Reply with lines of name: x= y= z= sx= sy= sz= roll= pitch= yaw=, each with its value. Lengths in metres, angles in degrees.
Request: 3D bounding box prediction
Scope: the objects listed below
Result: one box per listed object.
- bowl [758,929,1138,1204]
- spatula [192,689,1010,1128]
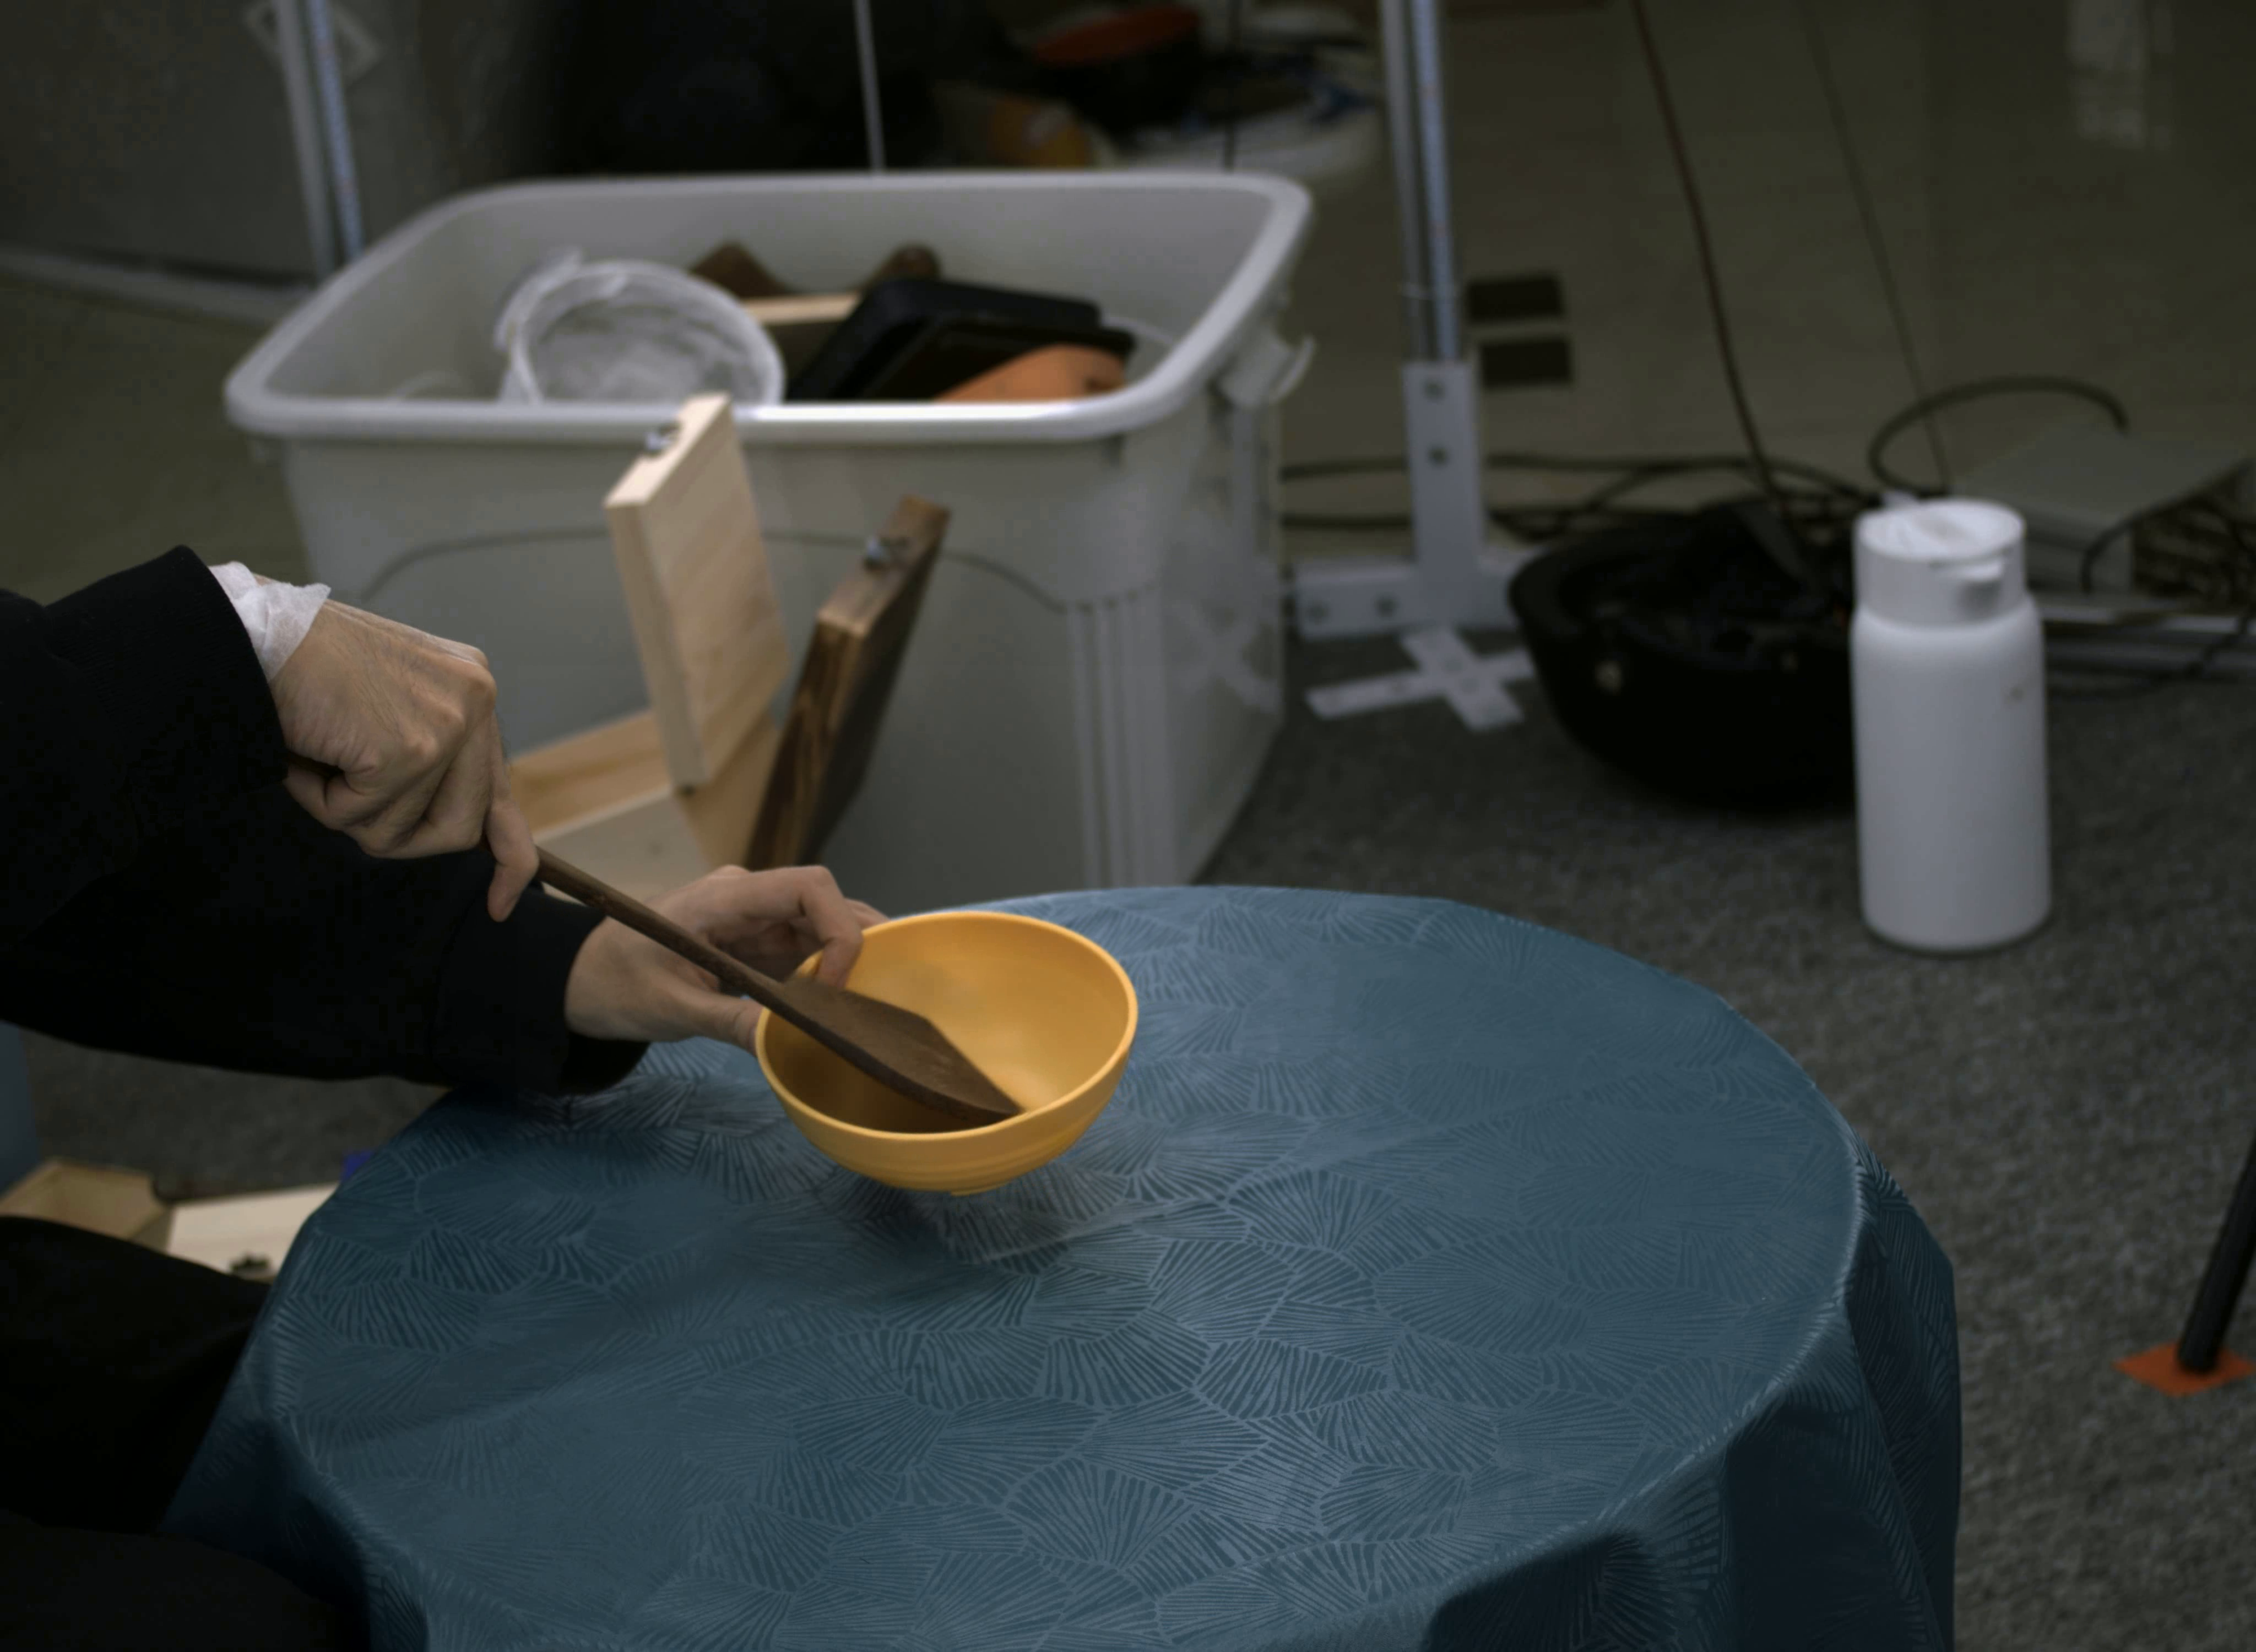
bowl: x=-0.066 y=0.101 z=2.150 sx=0.145 sy=0.061 sz=0.143 roll=-4 pitch=32 yaw=2
spatula: x=-0.185 y=0.030 z=2.048 sx=0.389 sy=0.016 sz=0.095 roll=31 pitch=7 yaw=-40
